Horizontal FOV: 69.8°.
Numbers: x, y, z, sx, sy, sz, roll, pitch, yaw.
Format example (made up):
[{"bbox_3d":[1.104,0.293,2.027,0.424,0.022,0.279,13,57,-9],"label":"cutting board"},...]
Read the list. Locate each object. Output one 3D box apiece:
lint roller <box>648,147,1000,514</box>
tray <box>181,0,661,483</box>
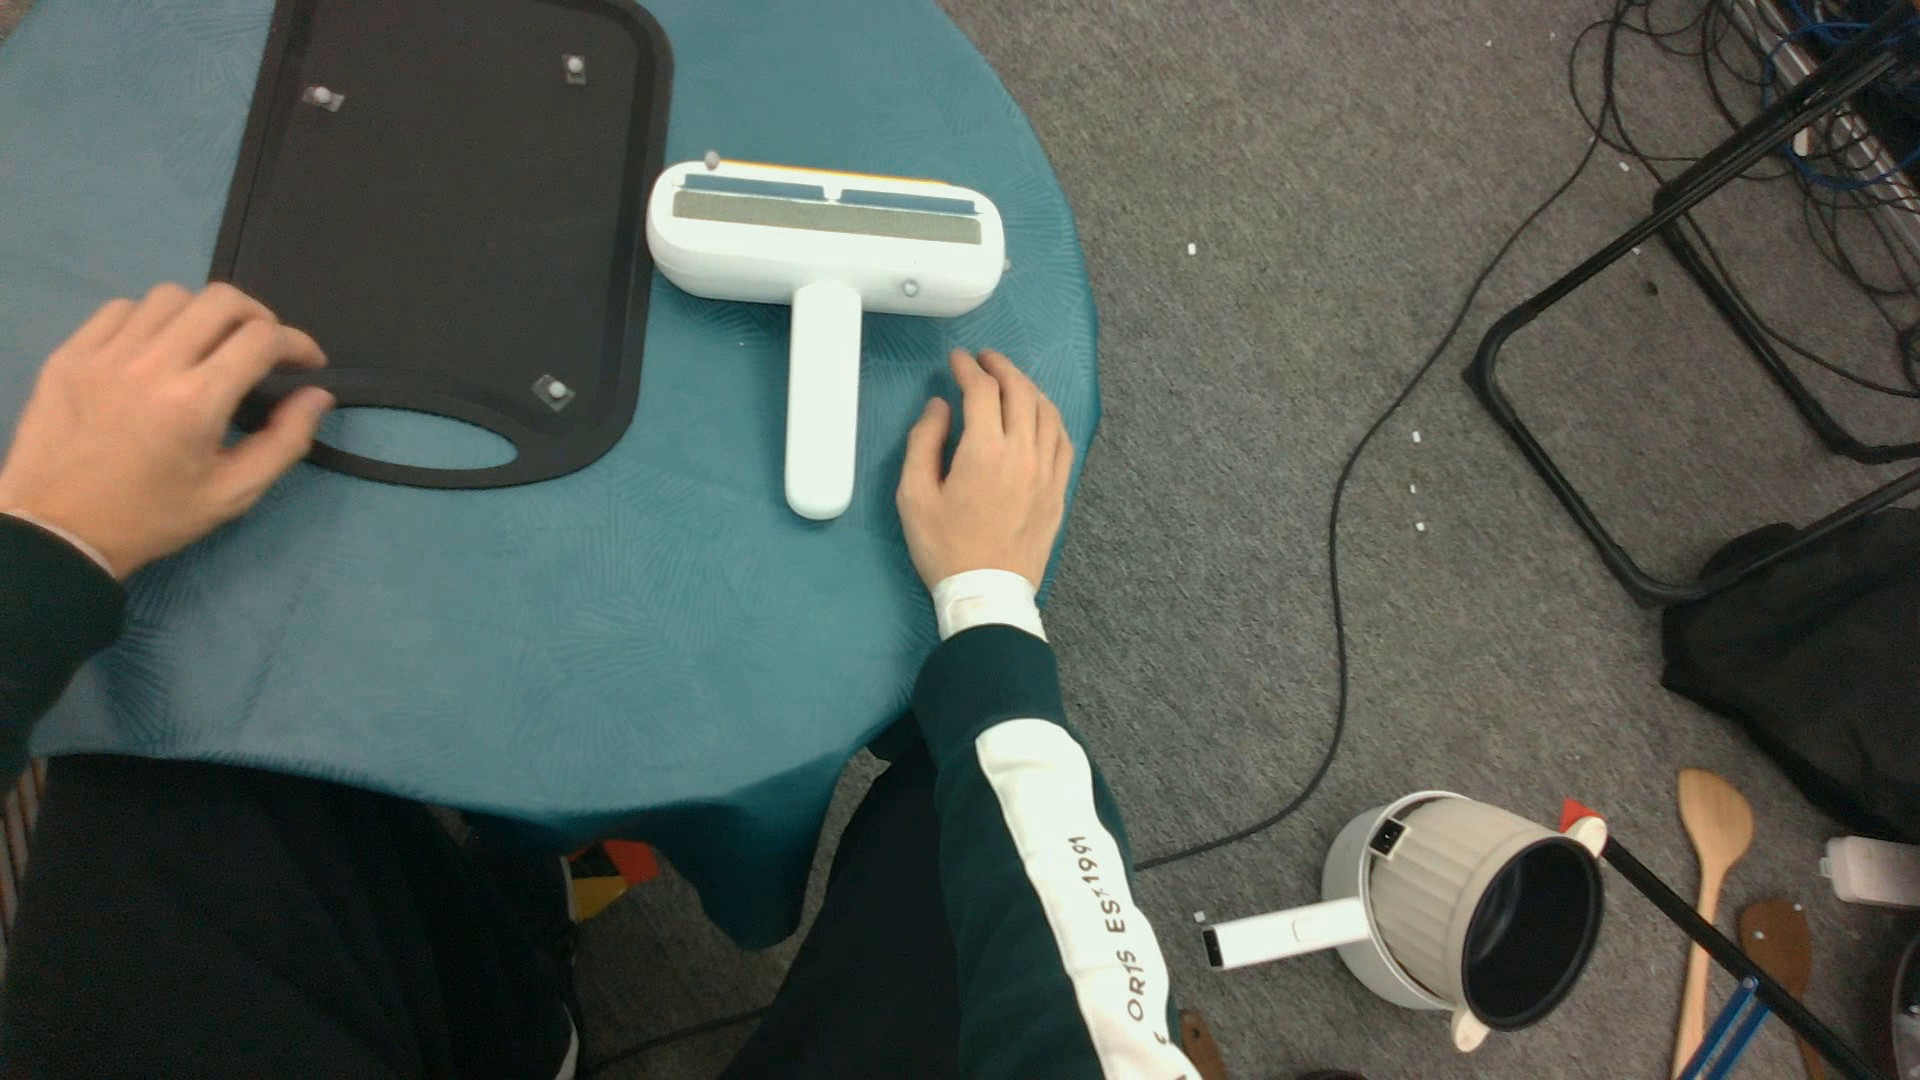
[{"bbox_3d":[-0.083,-0.111,0.762,0.193,0.074,0.192,9,83,-9],"label":"lint roller"},{"bbox_3d":[-0.276,-0.183,0.733,0.211,0.010,0.326,8,68,-17],"label":"tray"}]
